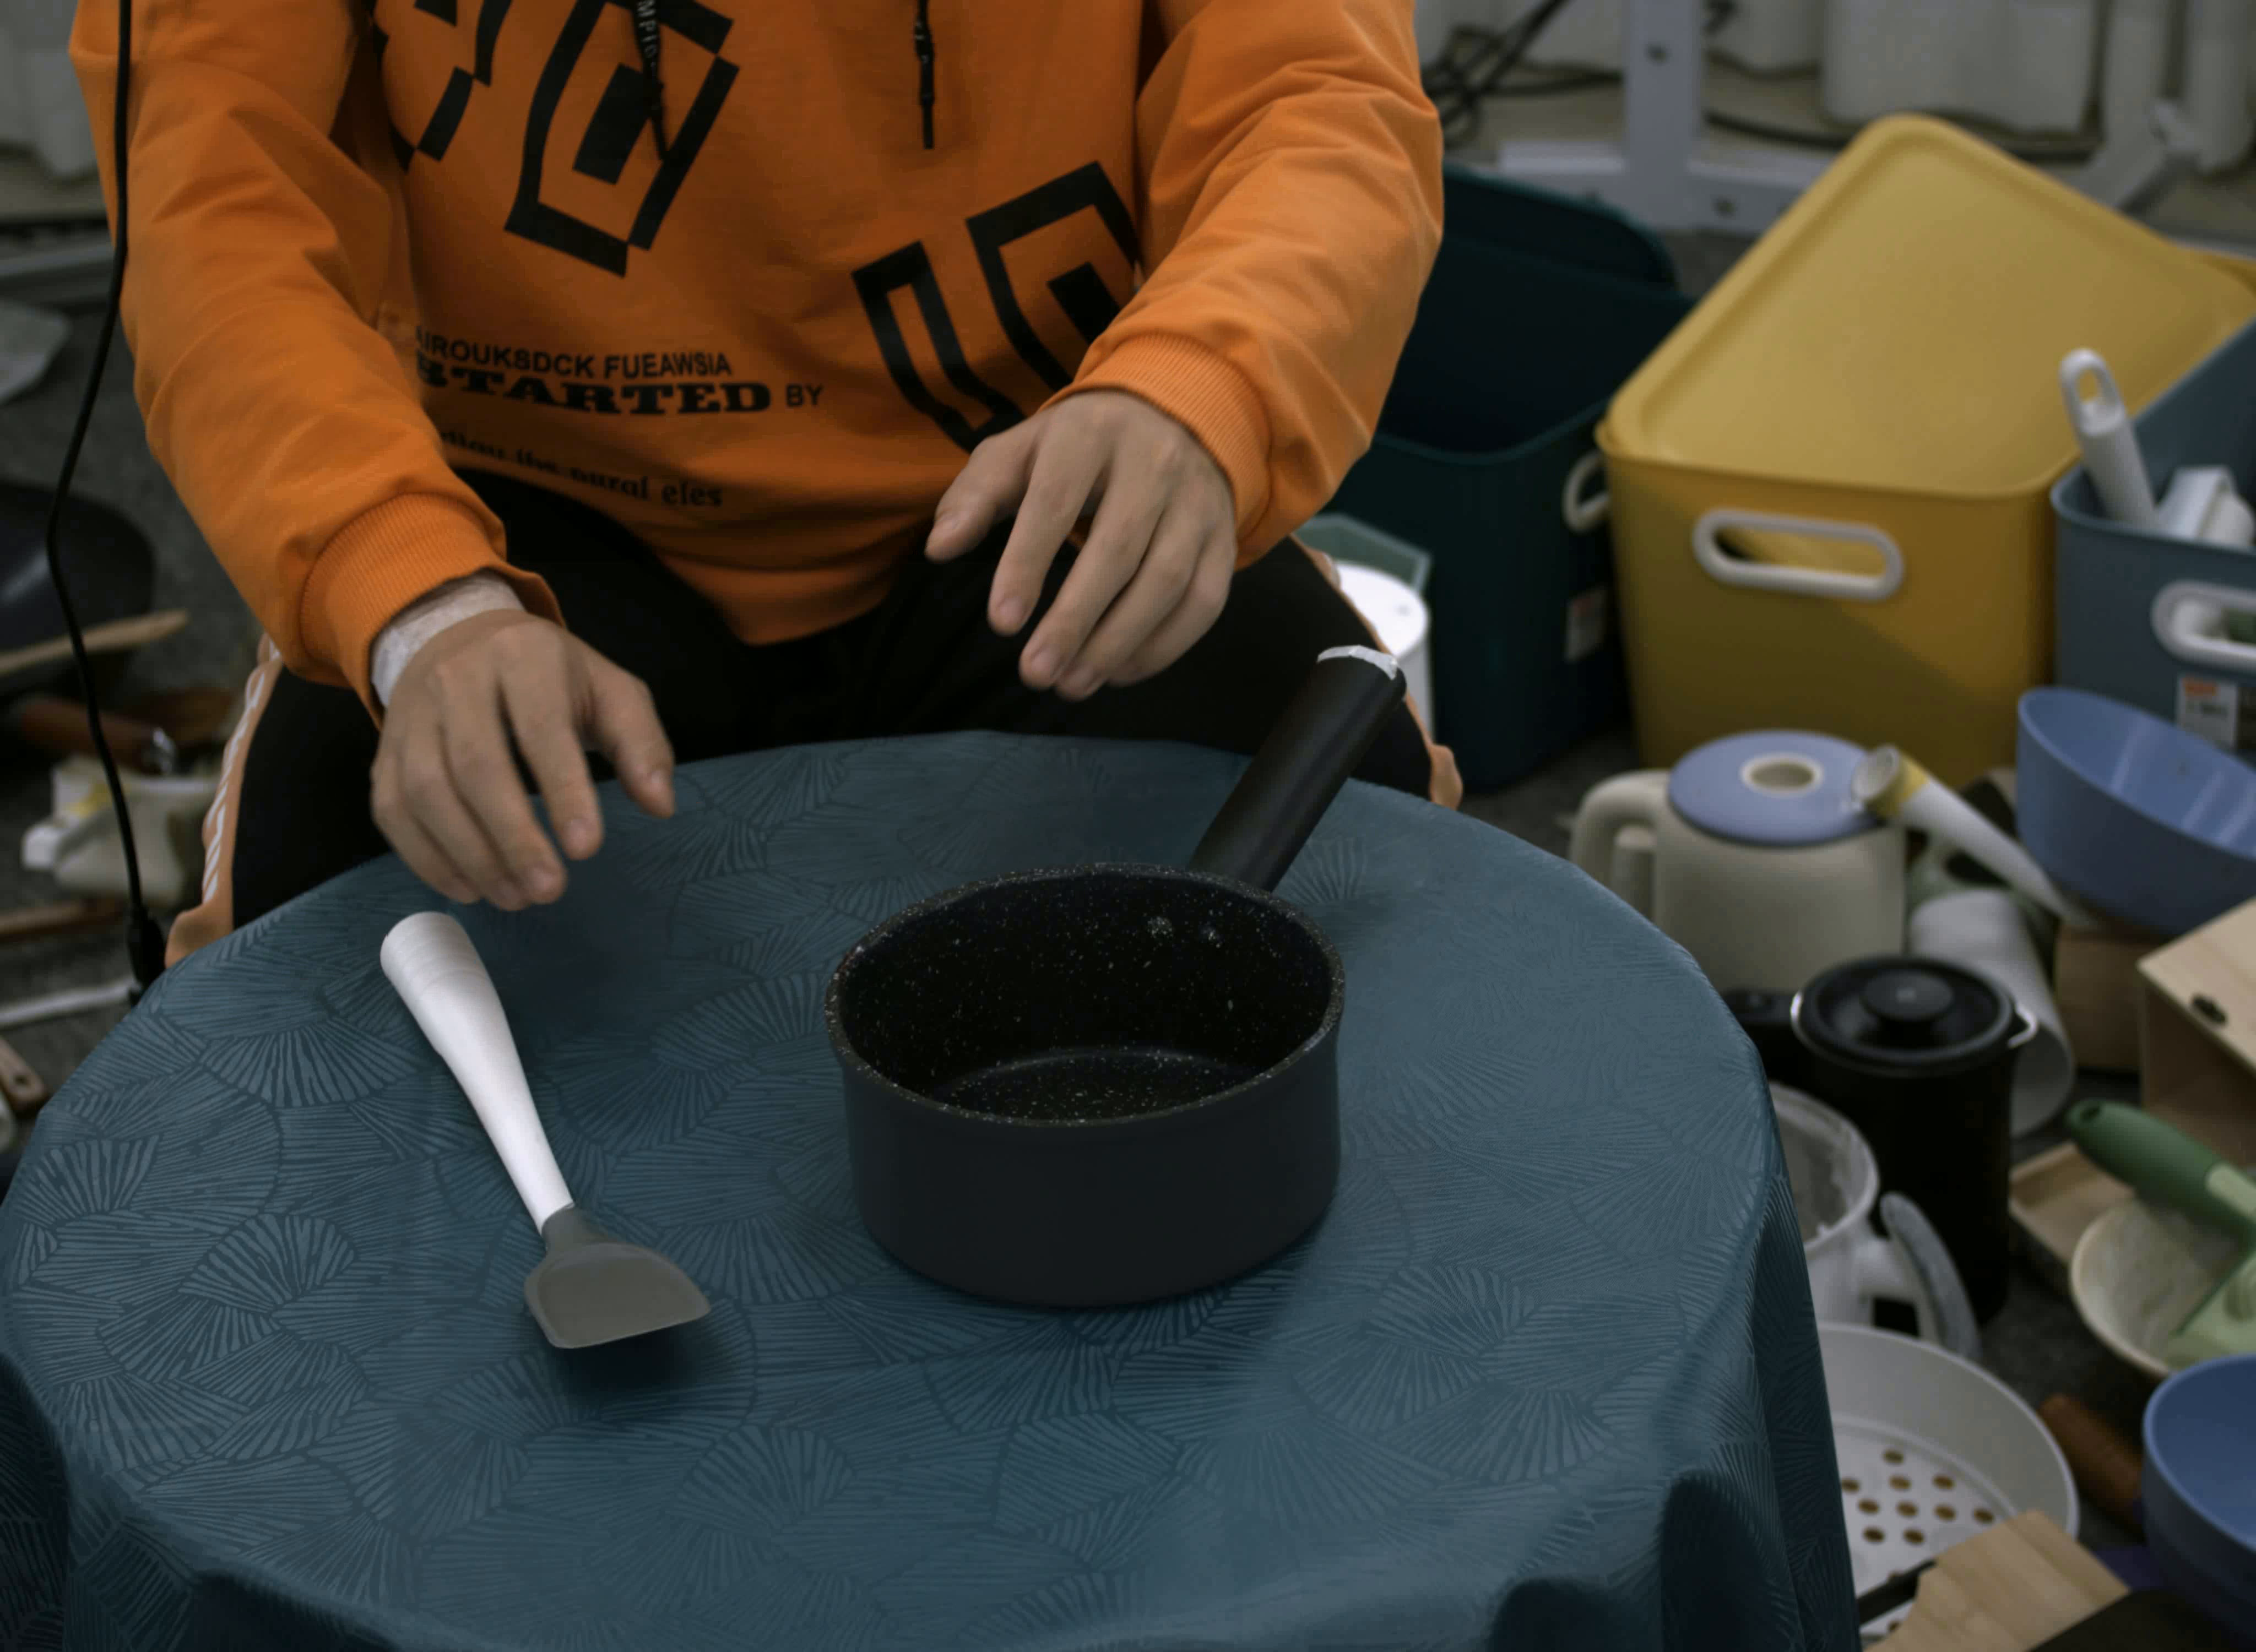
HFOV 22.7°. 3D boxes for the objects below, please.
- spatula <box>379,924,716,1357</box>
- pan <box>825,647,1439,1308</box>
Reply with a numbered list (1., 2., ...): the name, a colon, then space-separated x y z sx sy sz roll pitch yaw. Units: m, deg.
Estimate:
1. spatula: -0.201 0.108 1.873 0.059 0.032 0.290 -8 27 -18
2. pan: 0.023 0.047 1.912 0.171 0.085 0.334 12 32 24
